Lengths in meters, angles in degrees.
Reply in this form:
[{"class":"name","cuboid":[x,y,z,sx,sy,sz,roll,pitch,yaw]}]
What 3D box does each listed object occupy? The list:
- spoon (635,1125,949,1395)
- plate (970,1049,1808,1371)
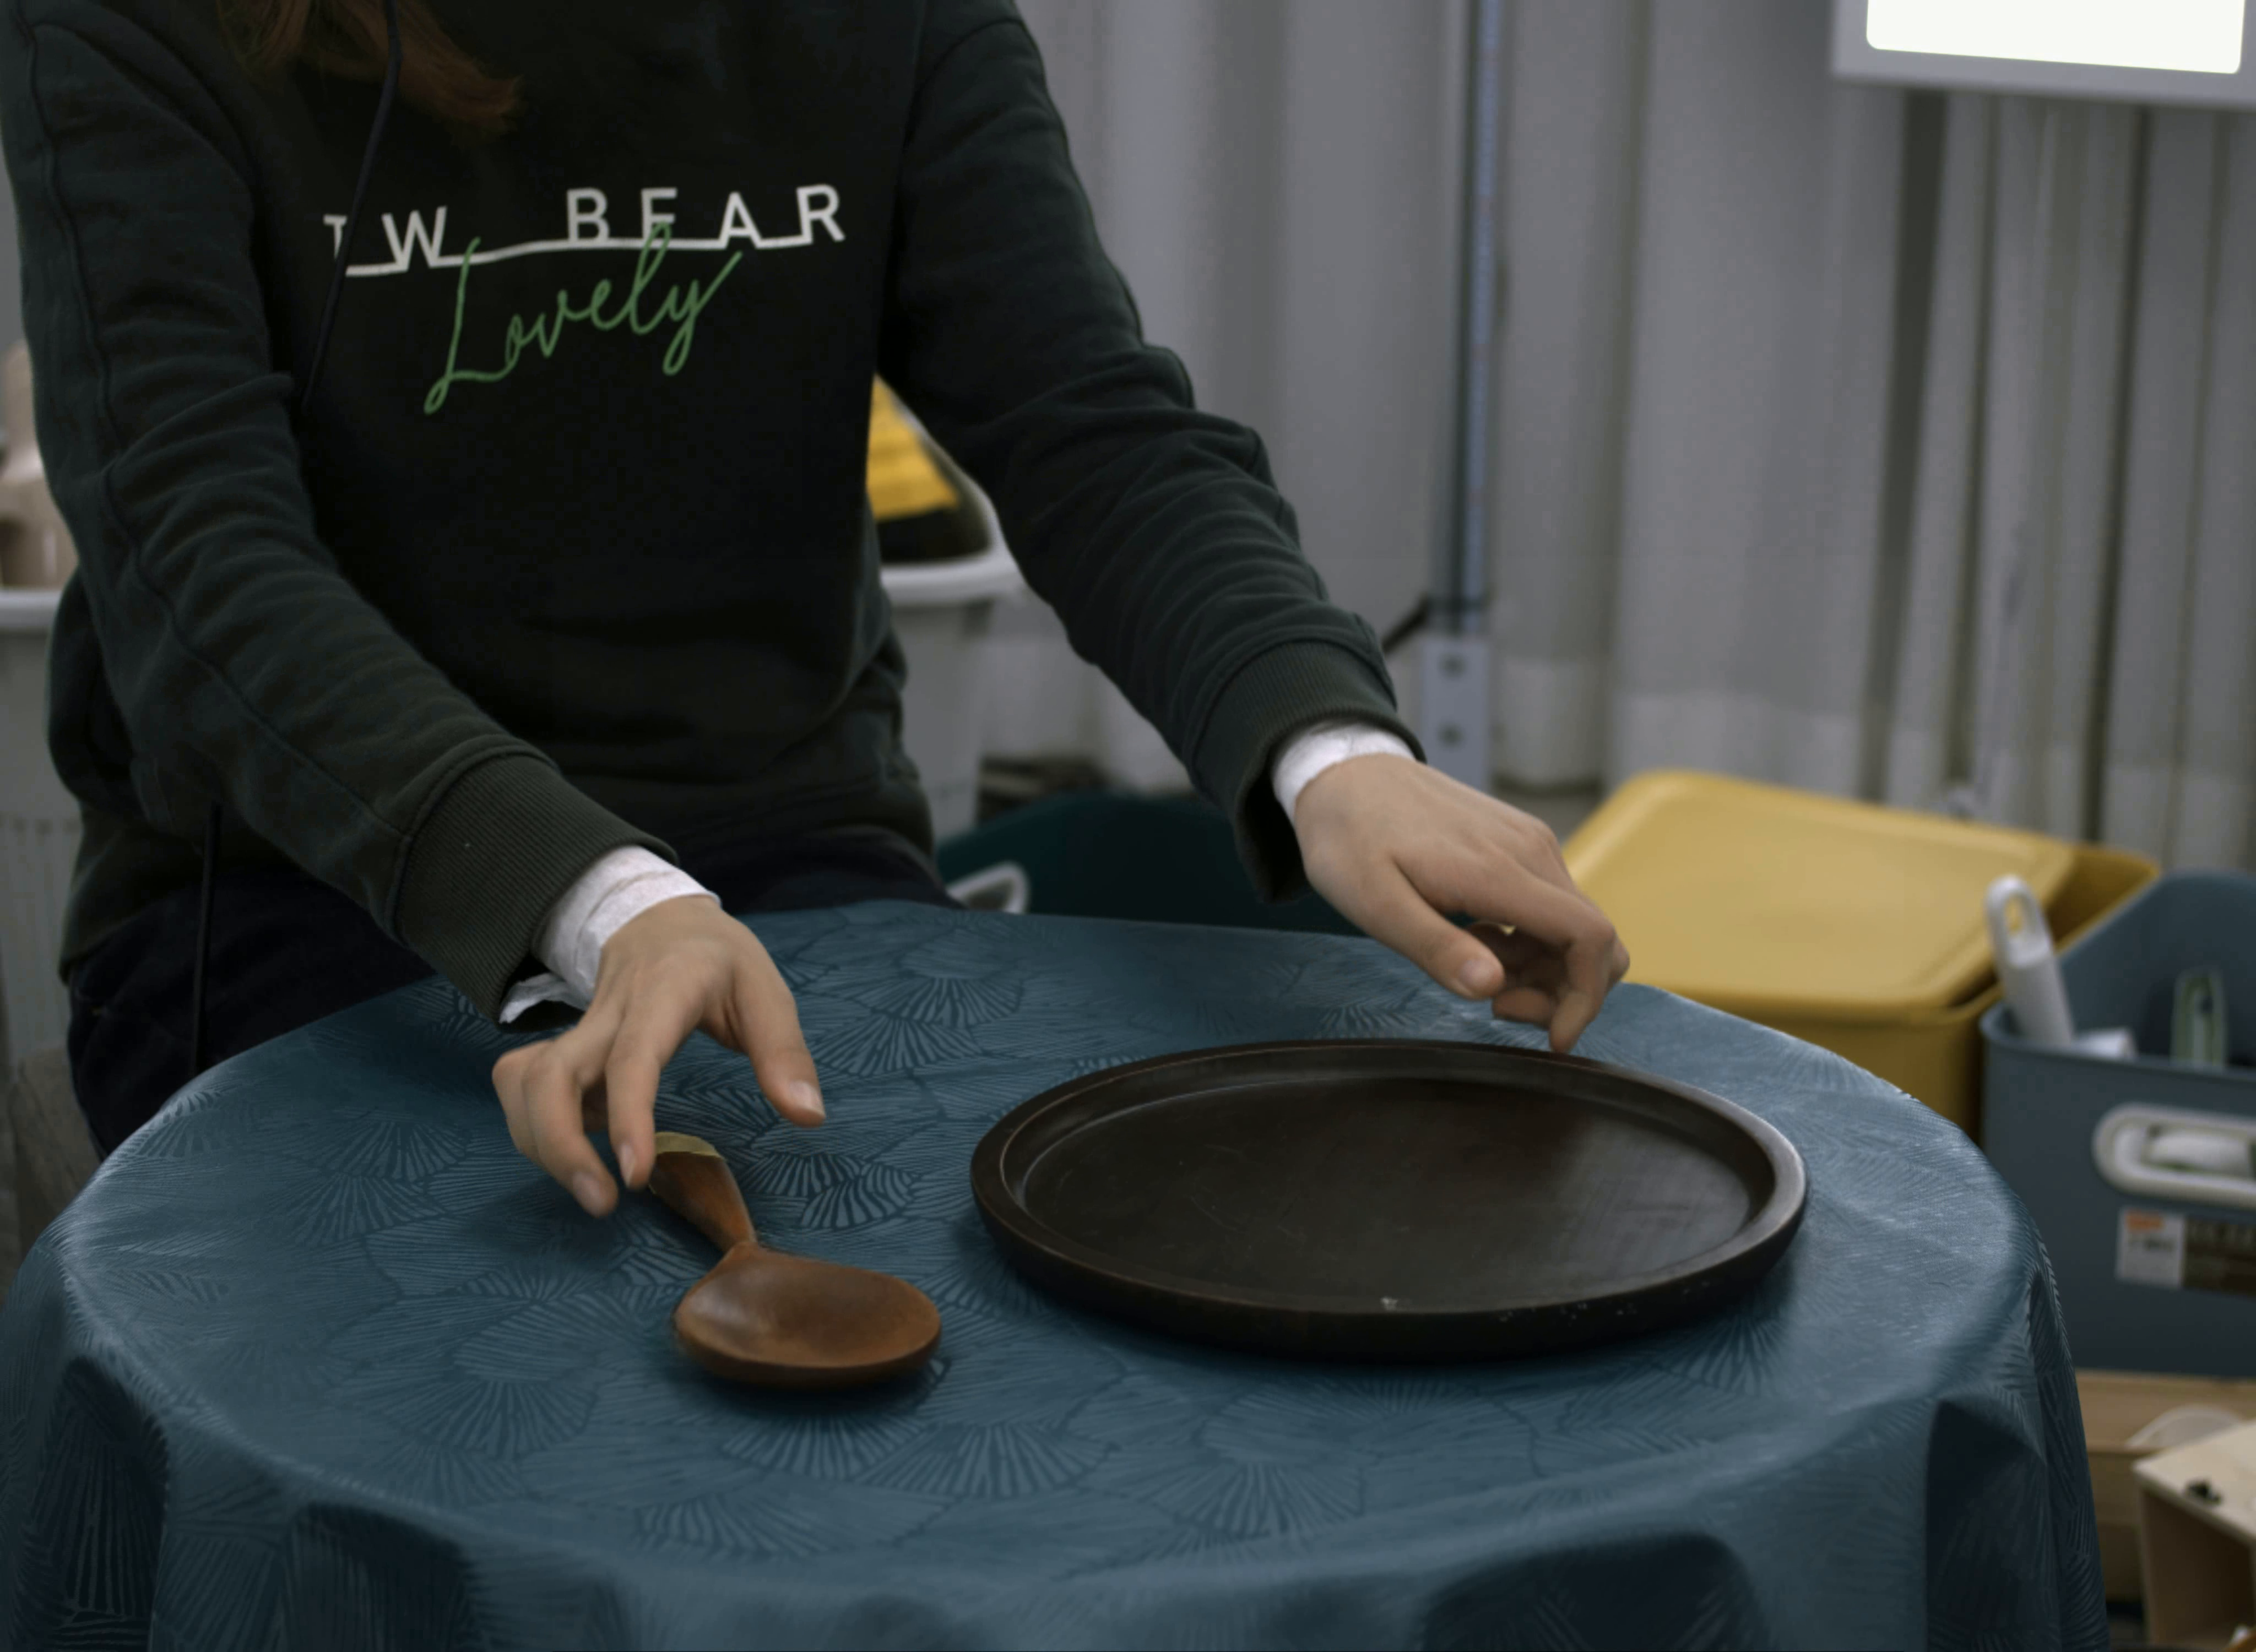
[{"class":"spoon","cuboid":[-0.109,0.127,1.539,0.075,0.017,0.213,-5,17,-18]},{"class":"plate","cuboid":[0.079,0.113,1.590,0.254,0.029,0.253,2,16,0]}]
